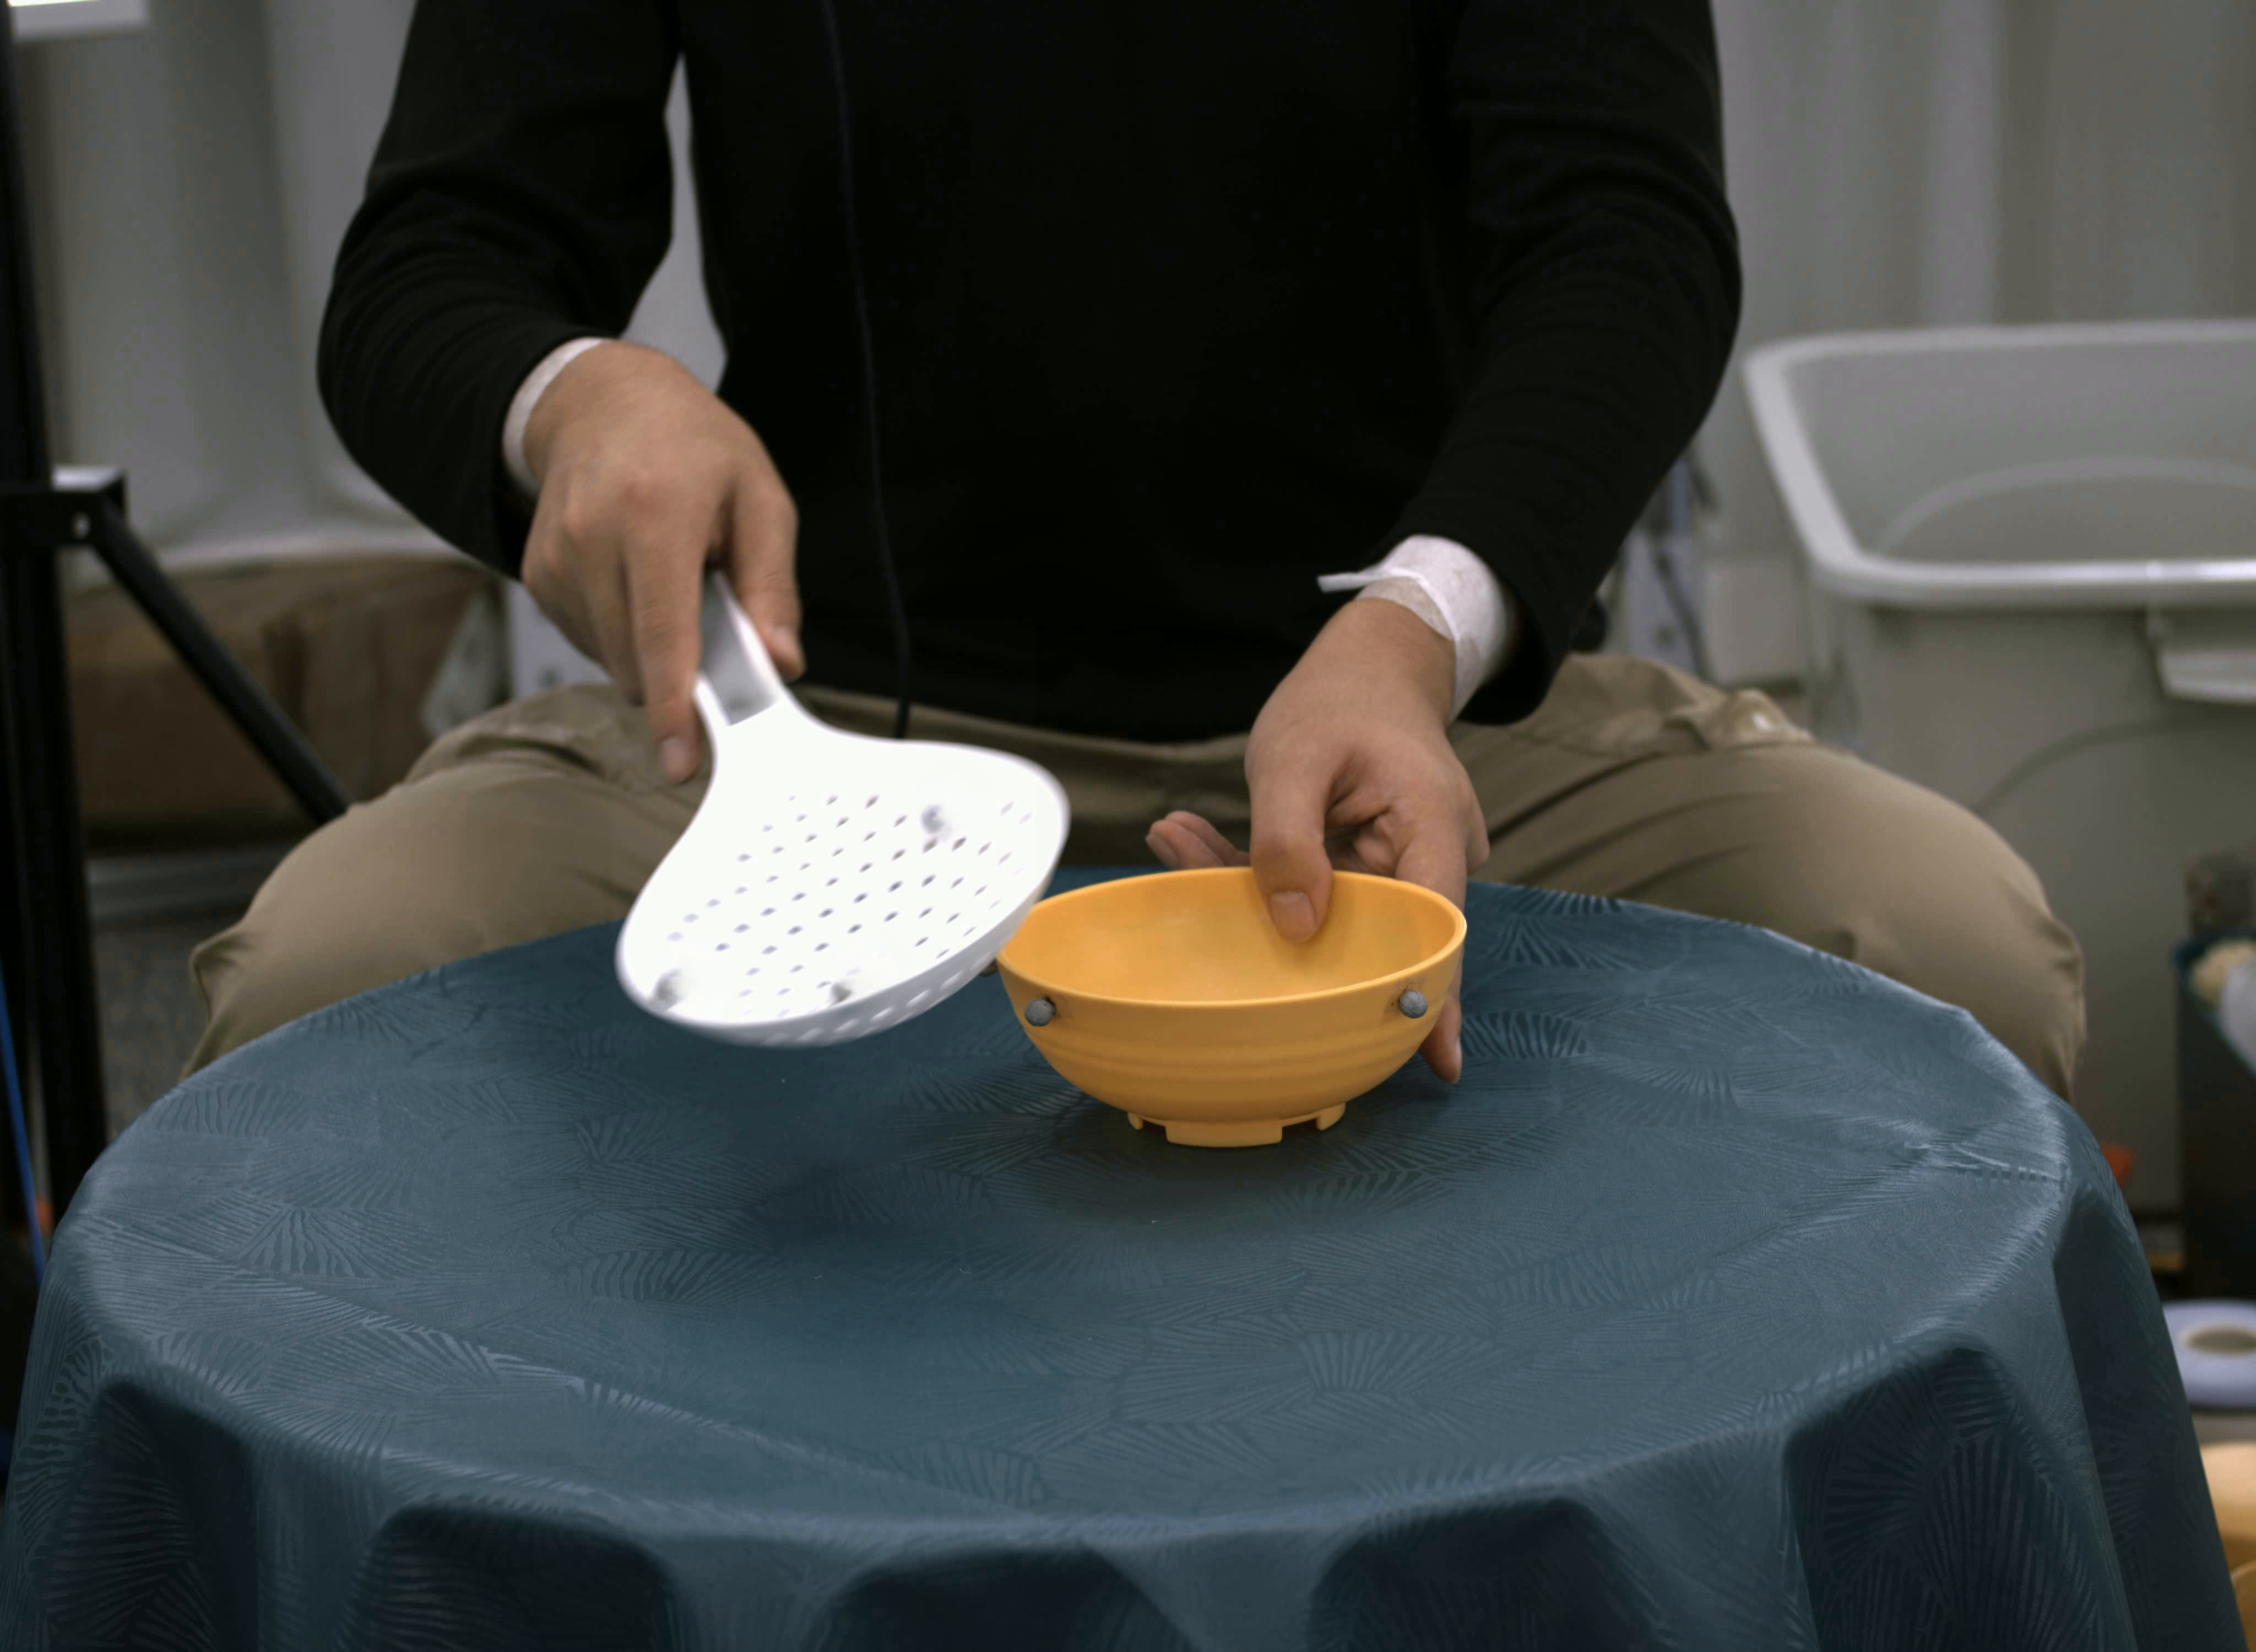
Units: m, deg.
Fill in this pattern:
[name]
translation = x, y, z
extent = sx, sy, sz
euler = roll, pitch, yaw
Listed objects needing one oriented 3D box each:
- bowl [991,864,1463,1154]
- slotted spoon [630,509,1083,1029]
[bowl]
translation = 0.030, 0.061, 1.615
extent = 0.144, 0.060, 0.146
euler = -2, 16, -1
[slotted spoon]
translation = -0.106, -0.026, 1.642
extent = 0.135, 0.045, 0.356
euler = -25, 33, -5
